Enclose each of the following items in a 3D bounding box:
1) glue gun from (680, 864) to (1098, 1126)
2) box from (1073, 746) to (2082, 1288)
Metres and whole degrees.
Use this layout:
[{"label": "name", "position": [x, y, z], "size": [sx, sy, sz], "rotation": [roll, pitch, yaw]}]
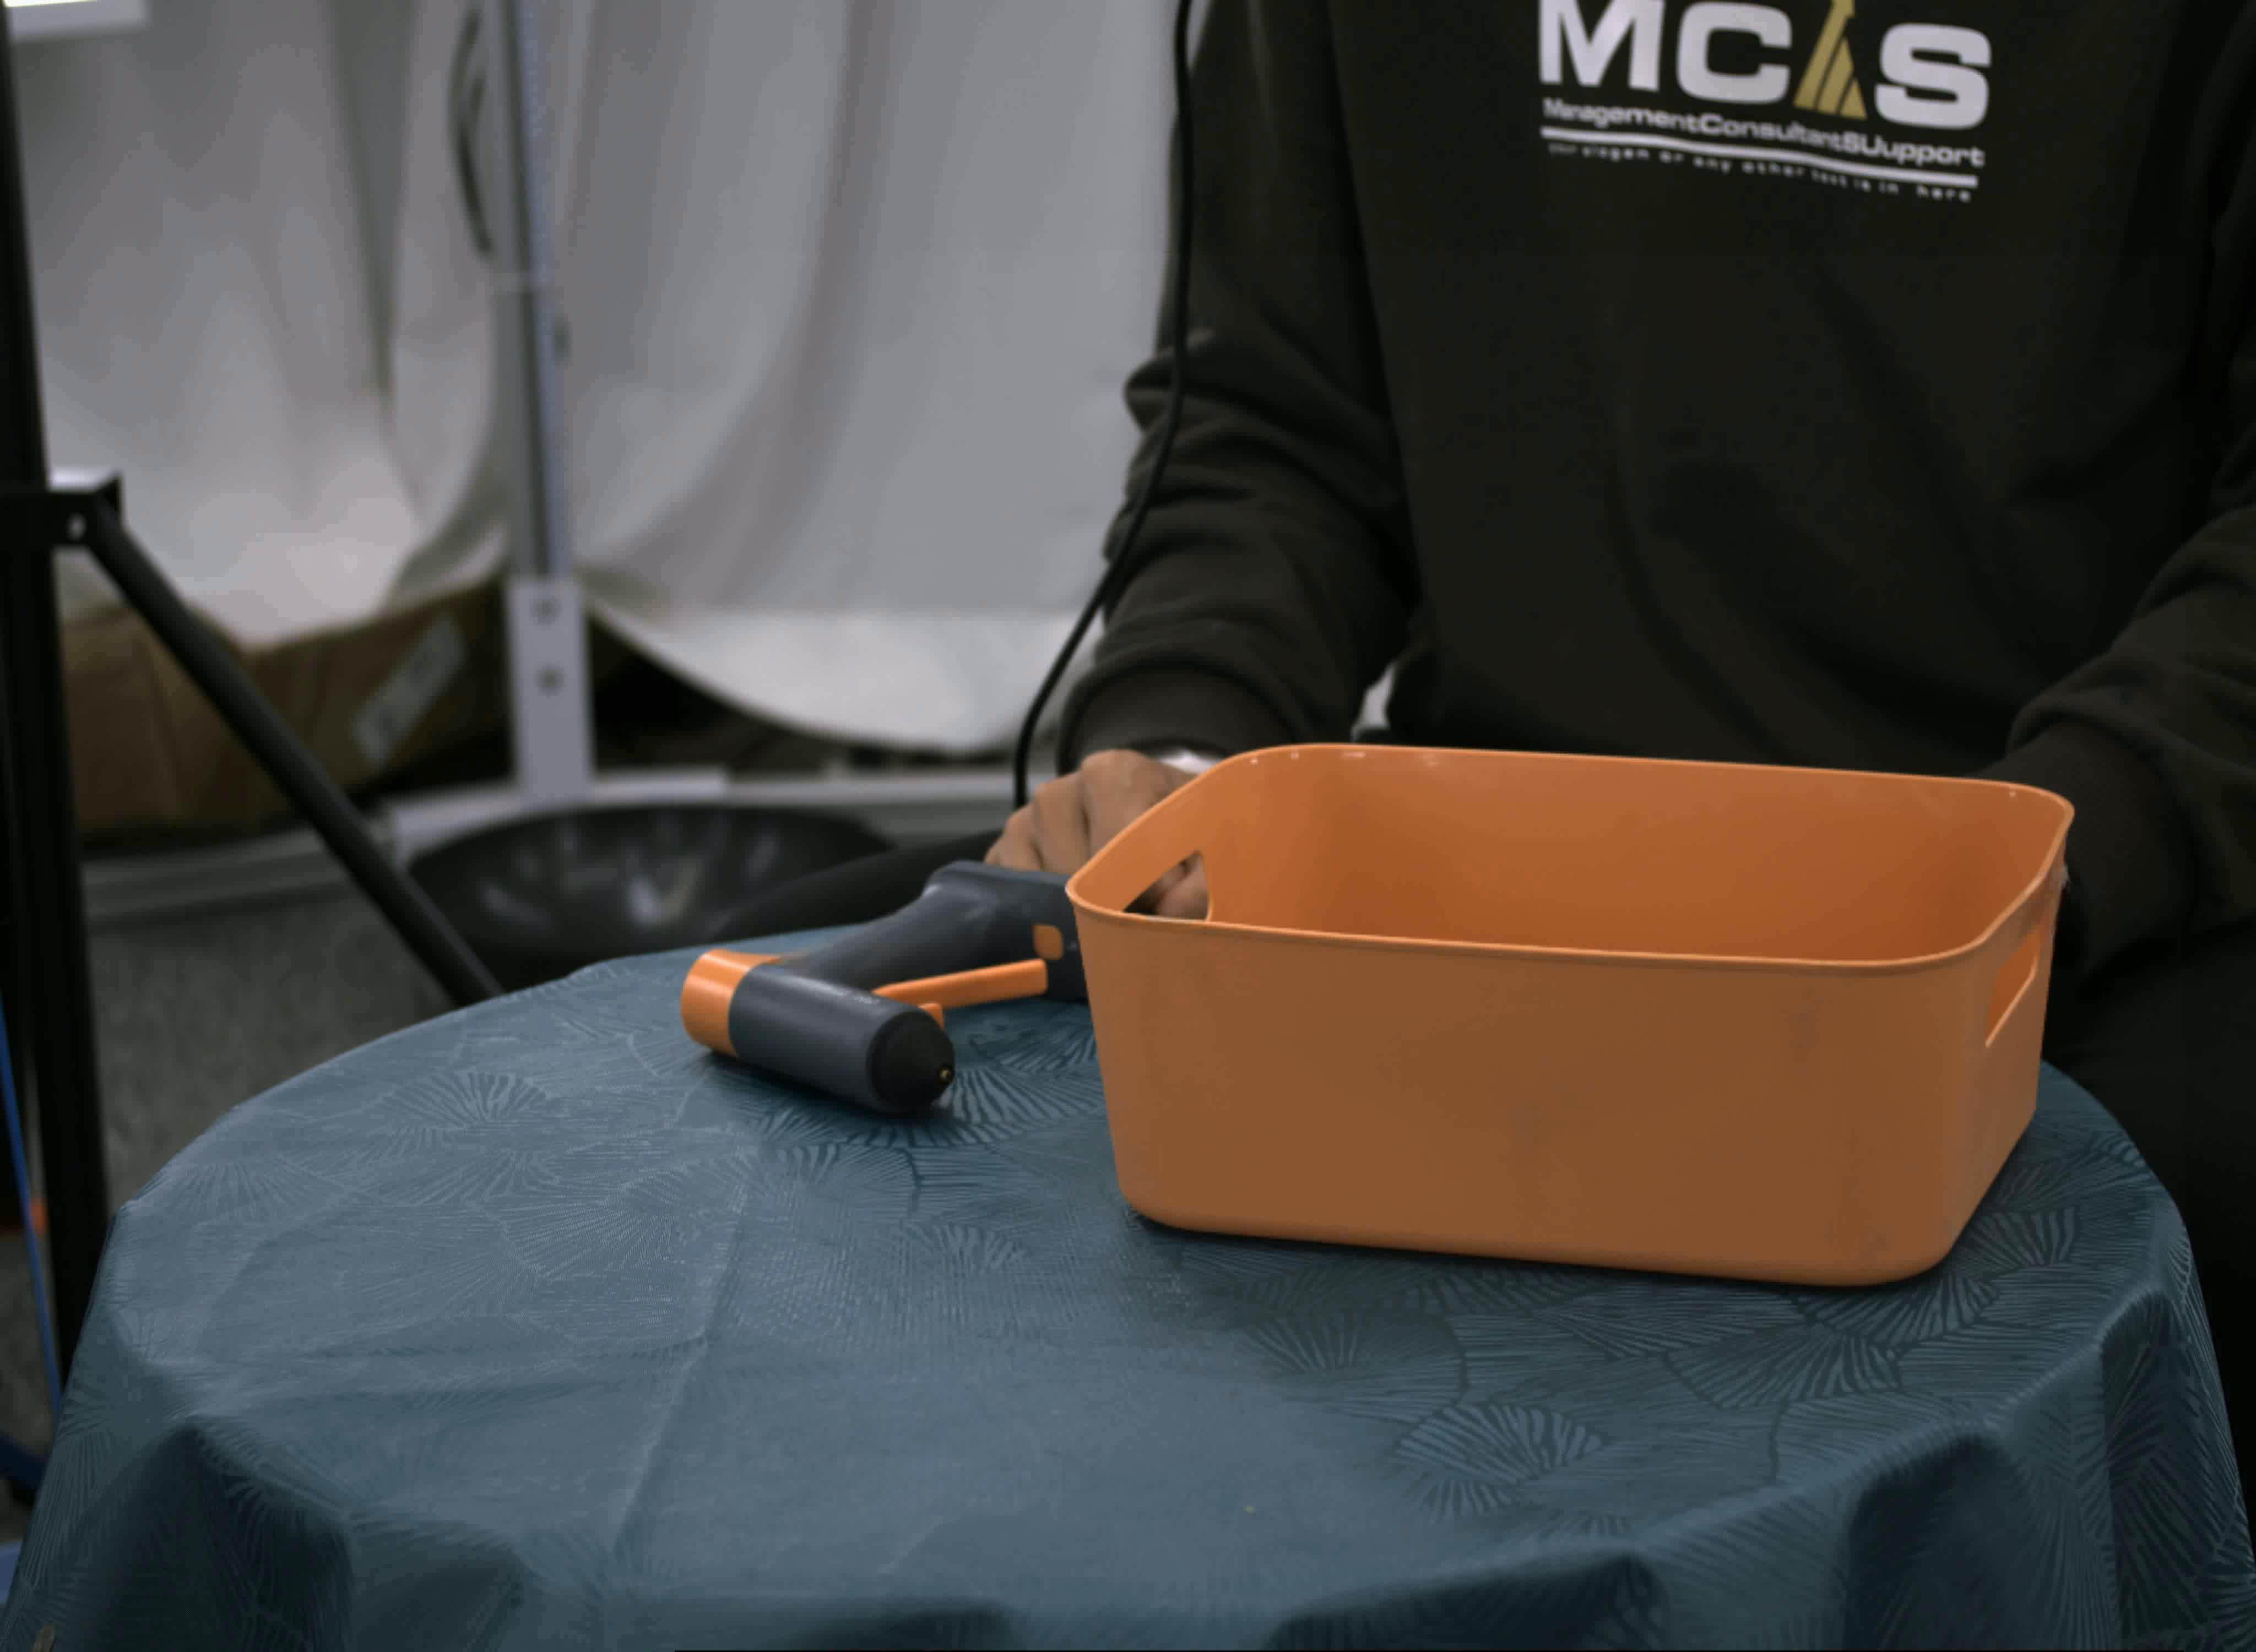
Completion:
[{"label": "glue gun", "position": [-0.069, 0.055, 1.697], "size": [0.120, 0.041, 0.137], "rotation": [10, 22, 33]}, {"label": "box", "position": [0.133, 0.053, 1.540], "size": [0.276, 0.102, 0.197], "rotation": [3, 16, 21]}]
